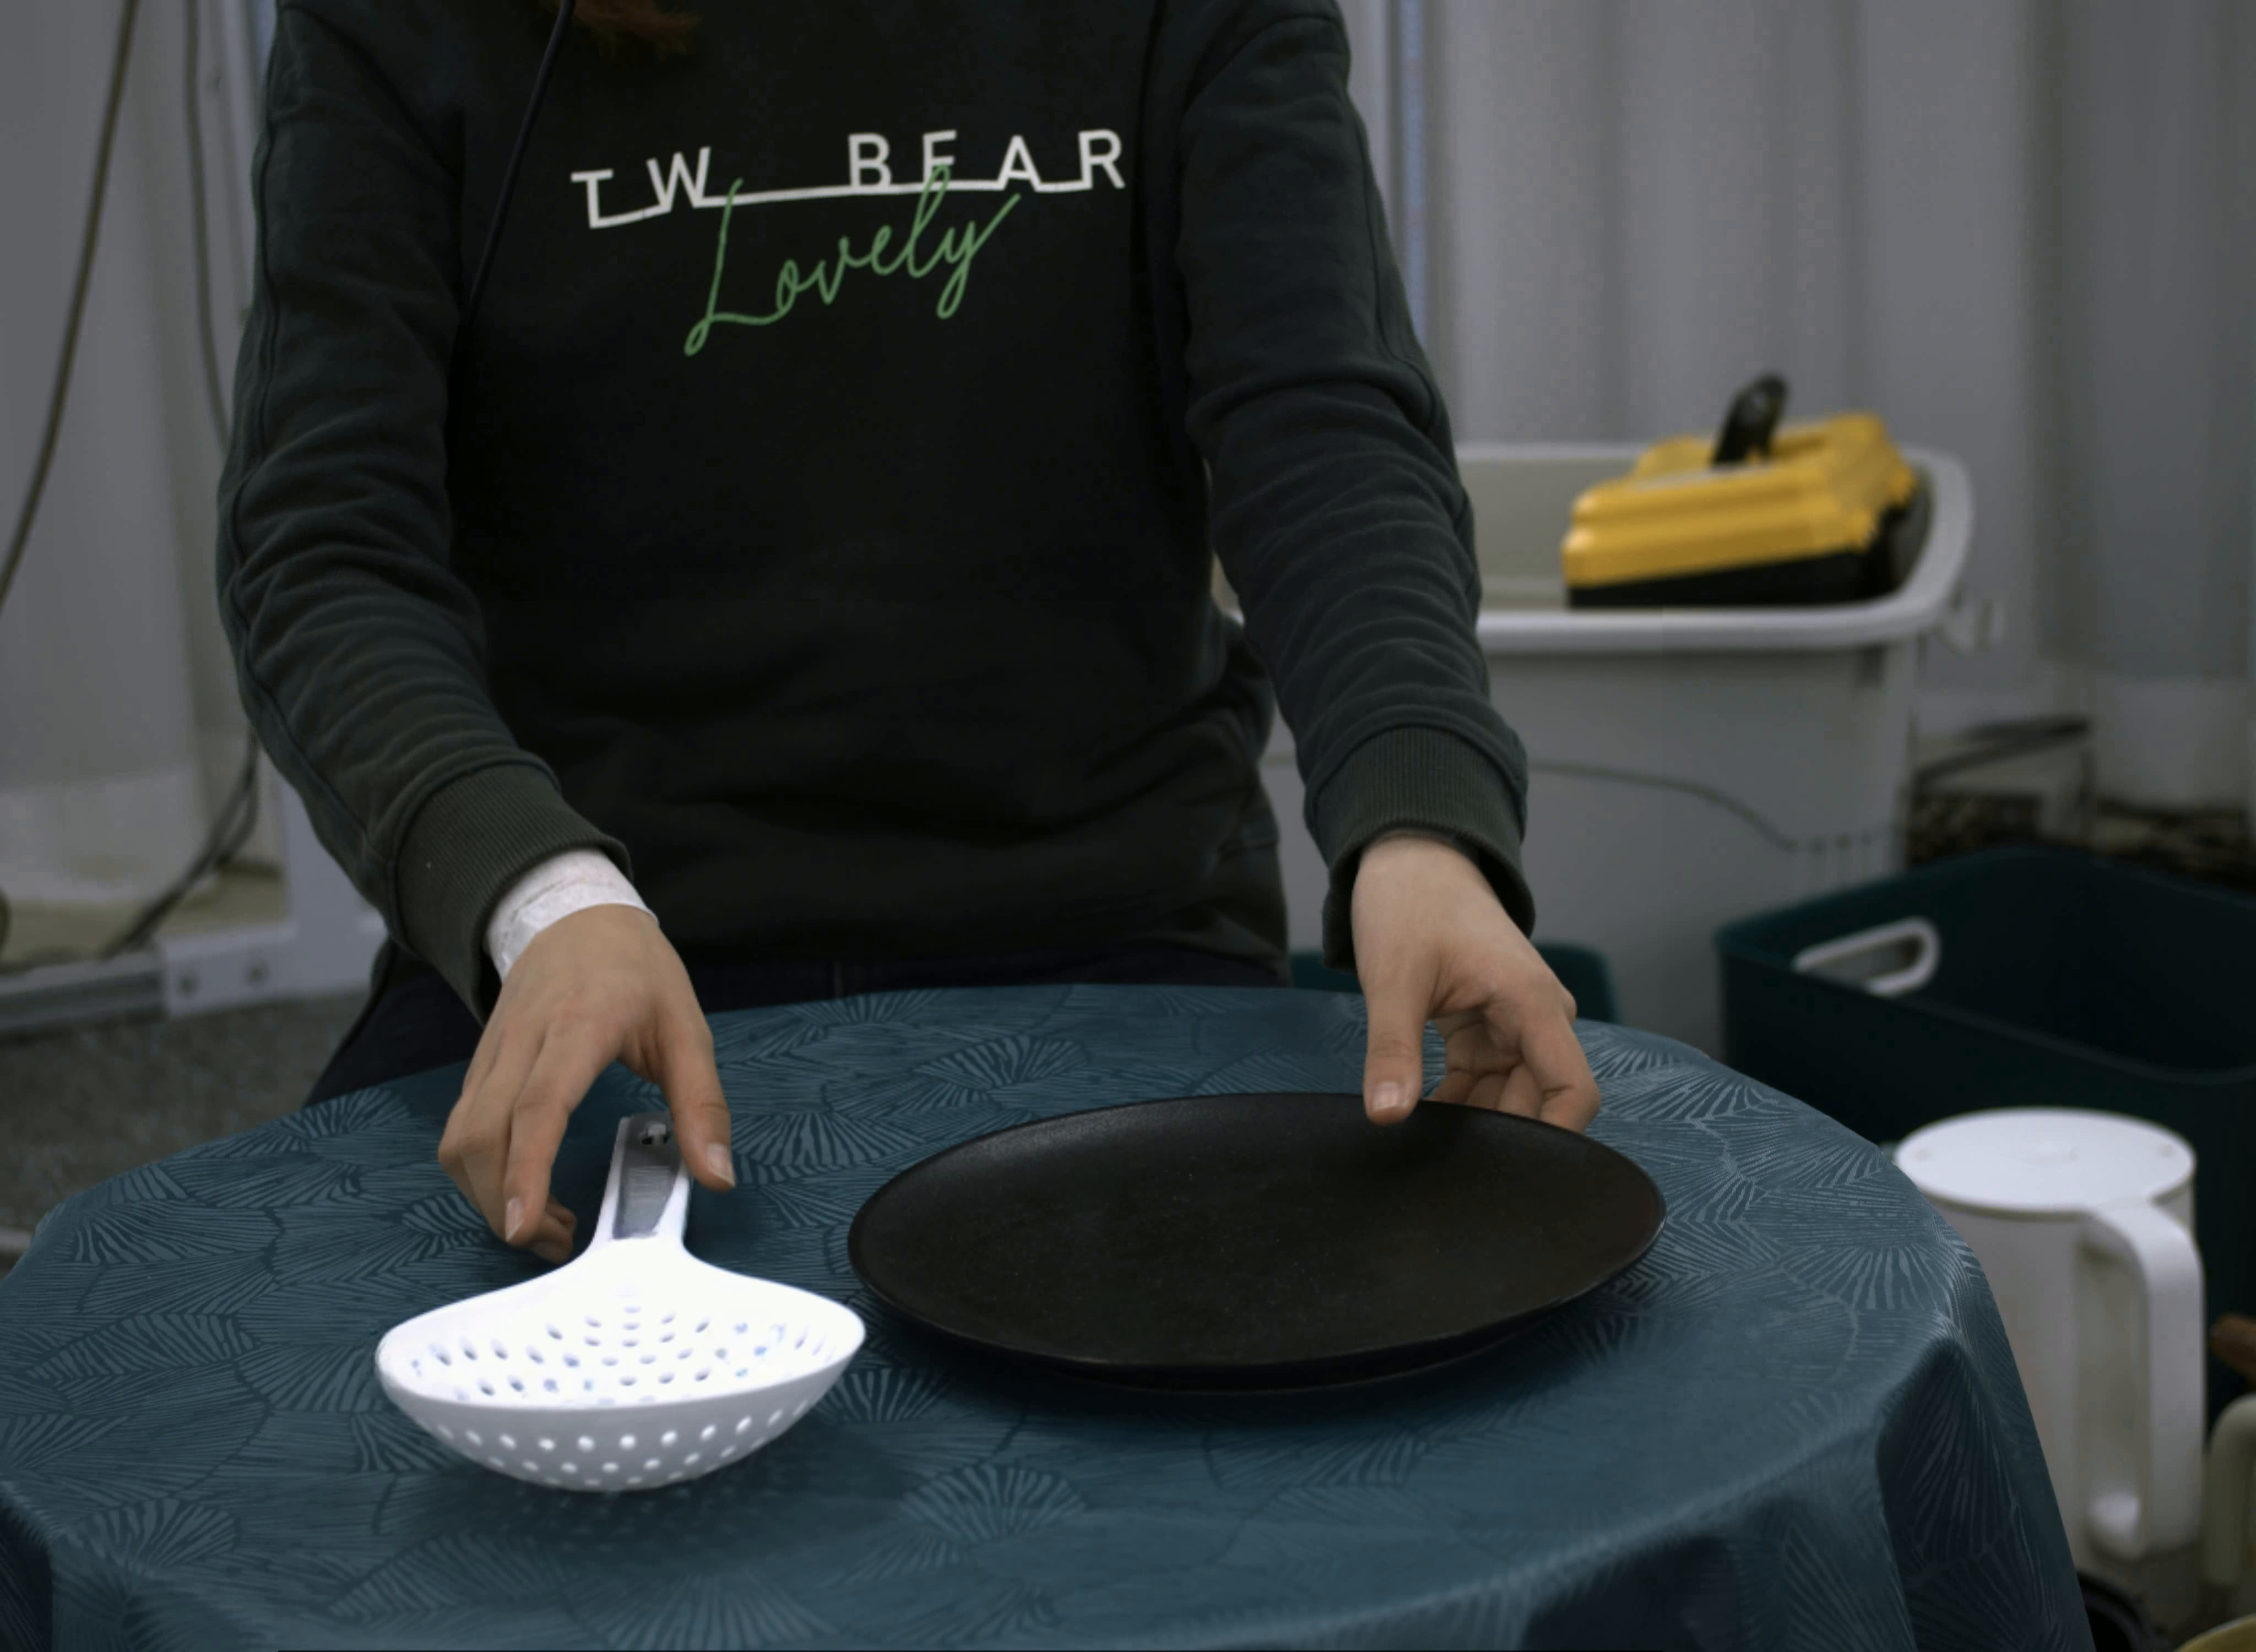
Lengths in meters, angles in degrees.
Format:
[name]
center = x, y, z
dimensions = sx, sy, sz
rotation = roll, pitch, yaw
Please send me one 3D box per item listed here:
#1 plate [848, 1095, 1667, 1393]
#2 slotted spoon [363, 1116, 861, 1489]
[plate]
center = 0.038, 0.126, 1.620
dimensions = 0.243, 0.023, 0.246
rotation = -3, 15, 0
[slotted spoon]
center = -0.144, 0.130, 1.598
dimensions = 0.135, 0.045, 0.352
rotation = -1, 14, -2
